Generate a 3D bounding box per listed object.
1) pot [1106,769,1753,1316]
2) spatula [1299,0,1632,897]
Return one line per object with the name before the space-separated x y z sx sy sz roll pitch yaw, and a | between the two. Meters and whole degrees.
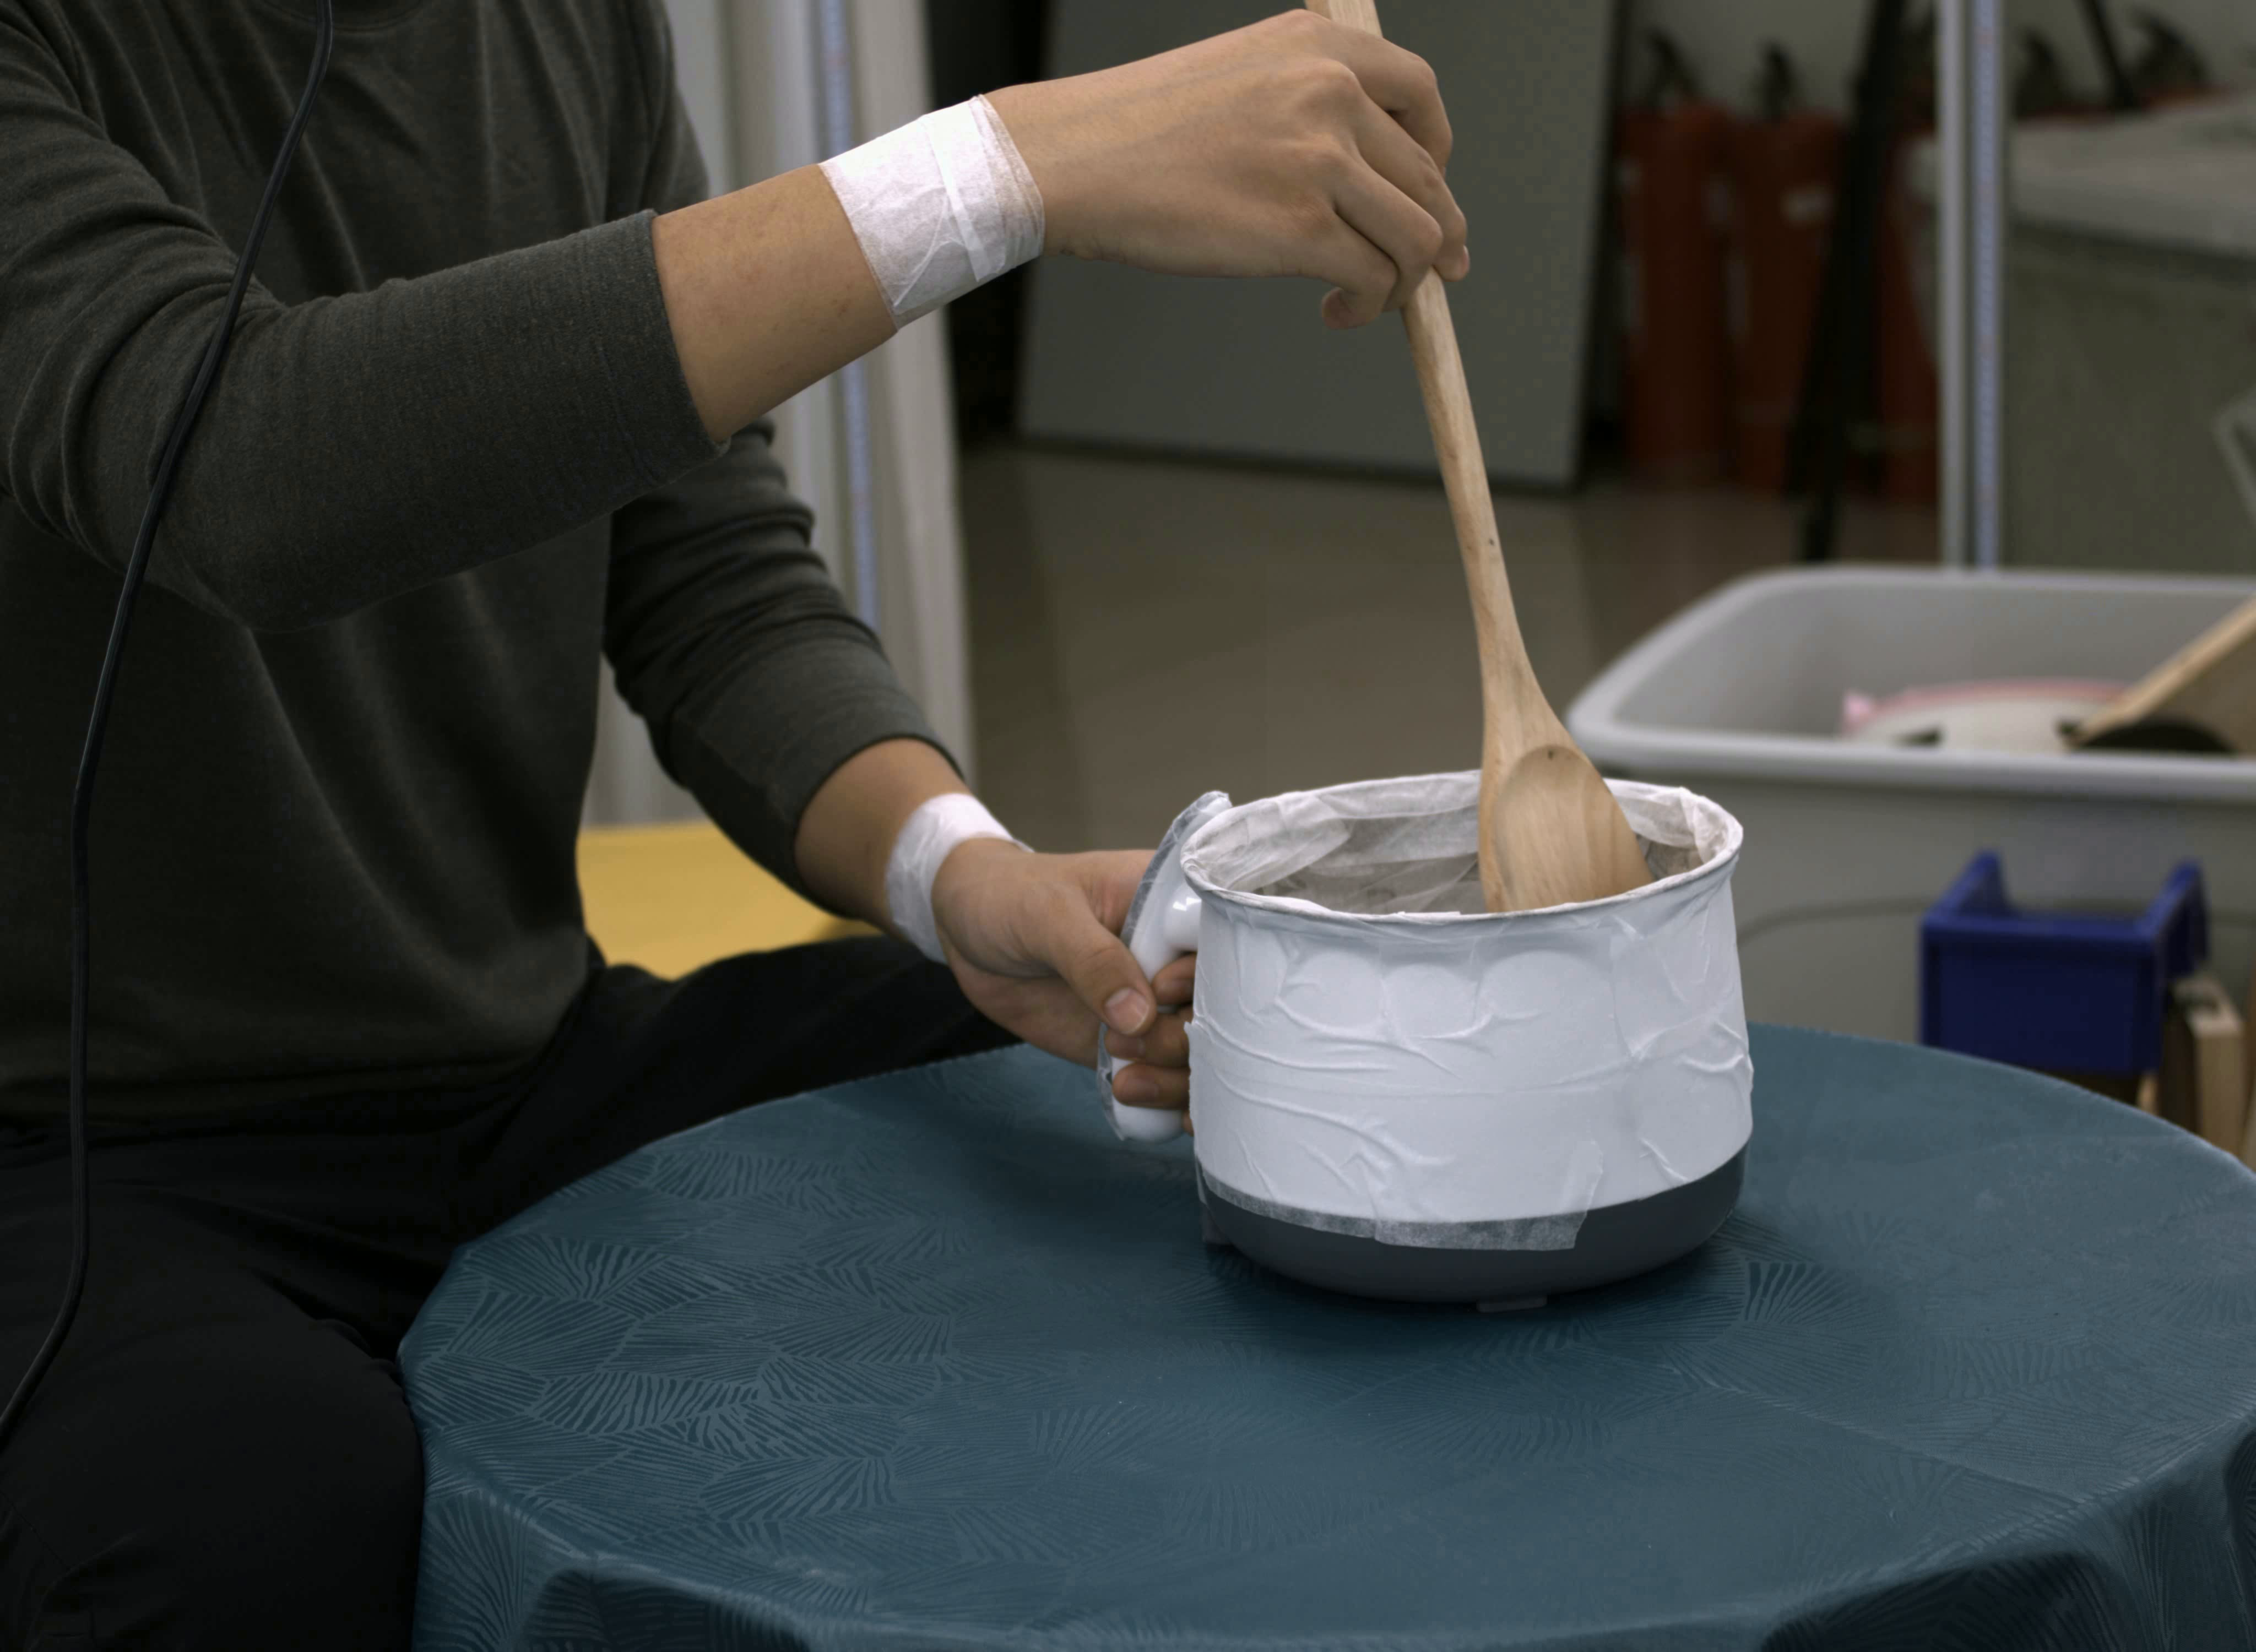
pot | 0.085 0.063 1.703 0.235 0.138 0.175 6 17 39
spatula | 0.094 -0.124 1.662 0.018 0.394 0.094 -9 9 34
